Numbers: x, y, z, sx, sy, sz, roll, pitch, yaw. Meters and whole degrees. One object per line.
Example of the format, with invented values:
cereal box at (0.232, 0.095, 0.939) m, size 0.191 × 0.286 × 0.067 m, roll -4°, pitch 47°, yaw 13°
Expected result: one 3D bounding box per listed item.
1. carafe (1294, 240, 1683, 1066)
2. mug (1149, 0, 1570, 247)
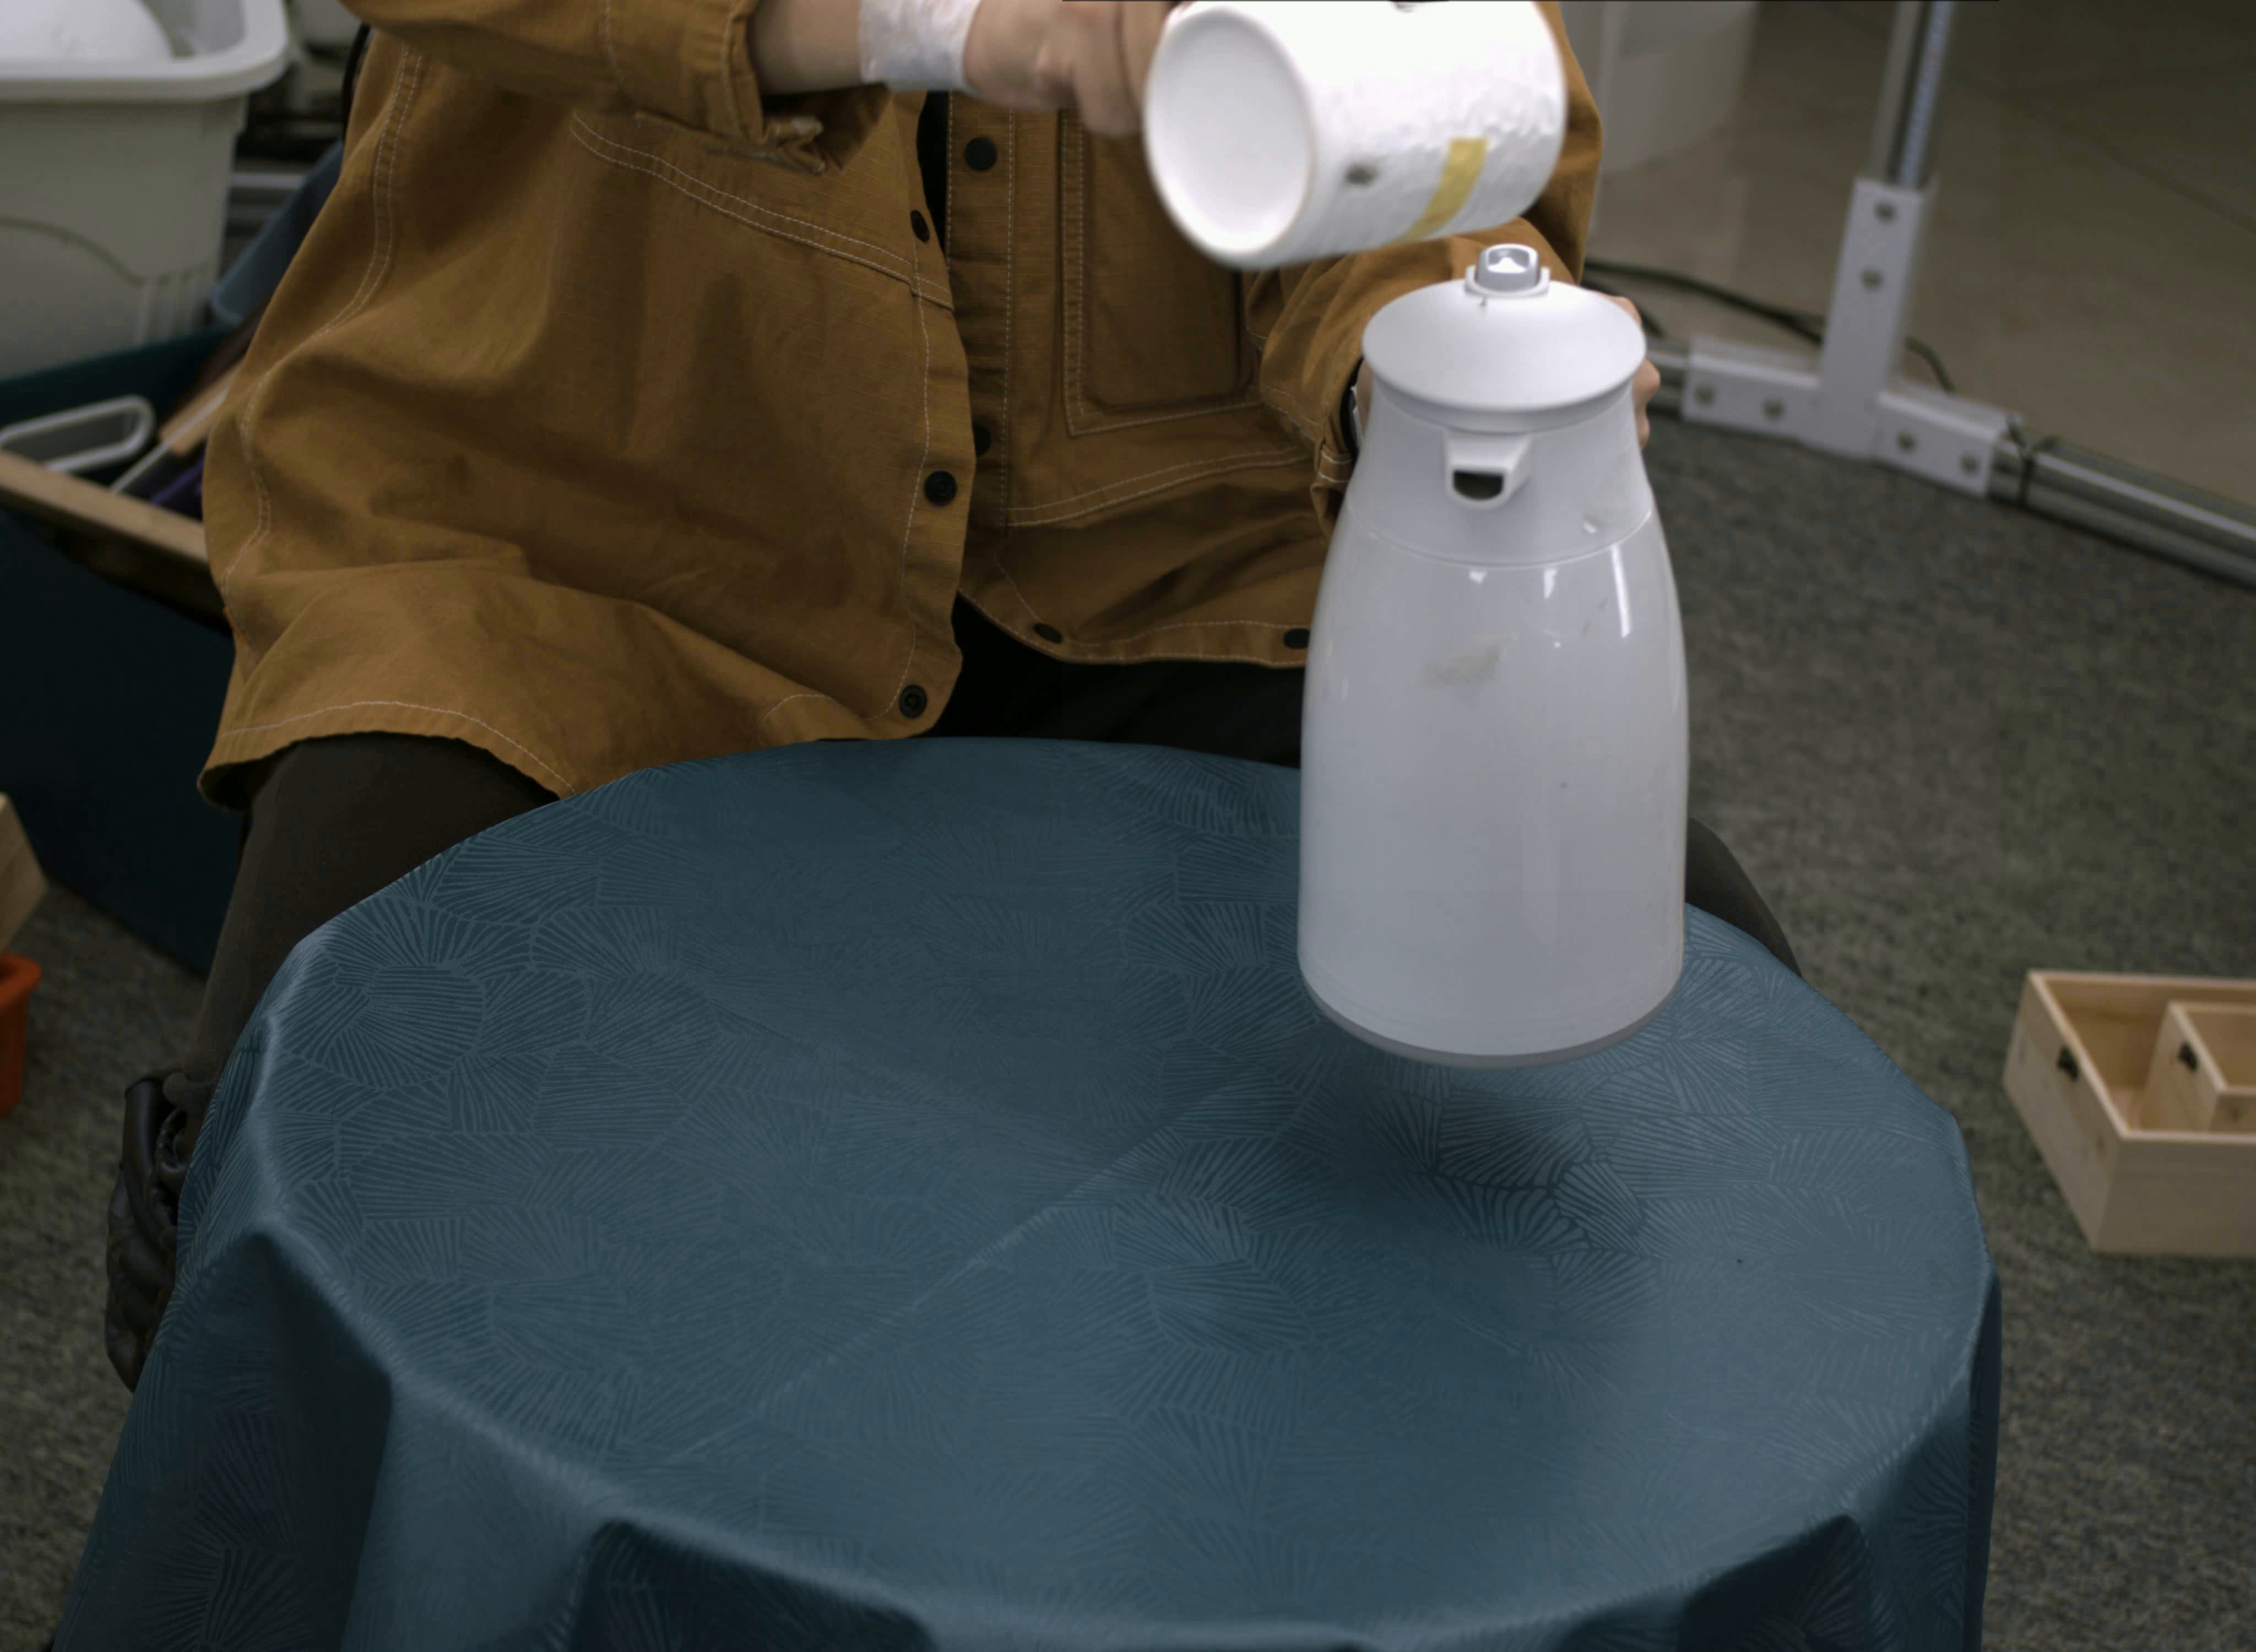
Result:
carafe at (0.122, -0.068, 1.782) m, size 0.132 × 0.247 × 0.168 m, roll 3°, pitch 31°, yaw 9°
mug at (0.058, -0.229, 1.625) m, size 0.101 × 0.085 × 0.119 m, roll -12°, pitch 36°, yaw -41°
